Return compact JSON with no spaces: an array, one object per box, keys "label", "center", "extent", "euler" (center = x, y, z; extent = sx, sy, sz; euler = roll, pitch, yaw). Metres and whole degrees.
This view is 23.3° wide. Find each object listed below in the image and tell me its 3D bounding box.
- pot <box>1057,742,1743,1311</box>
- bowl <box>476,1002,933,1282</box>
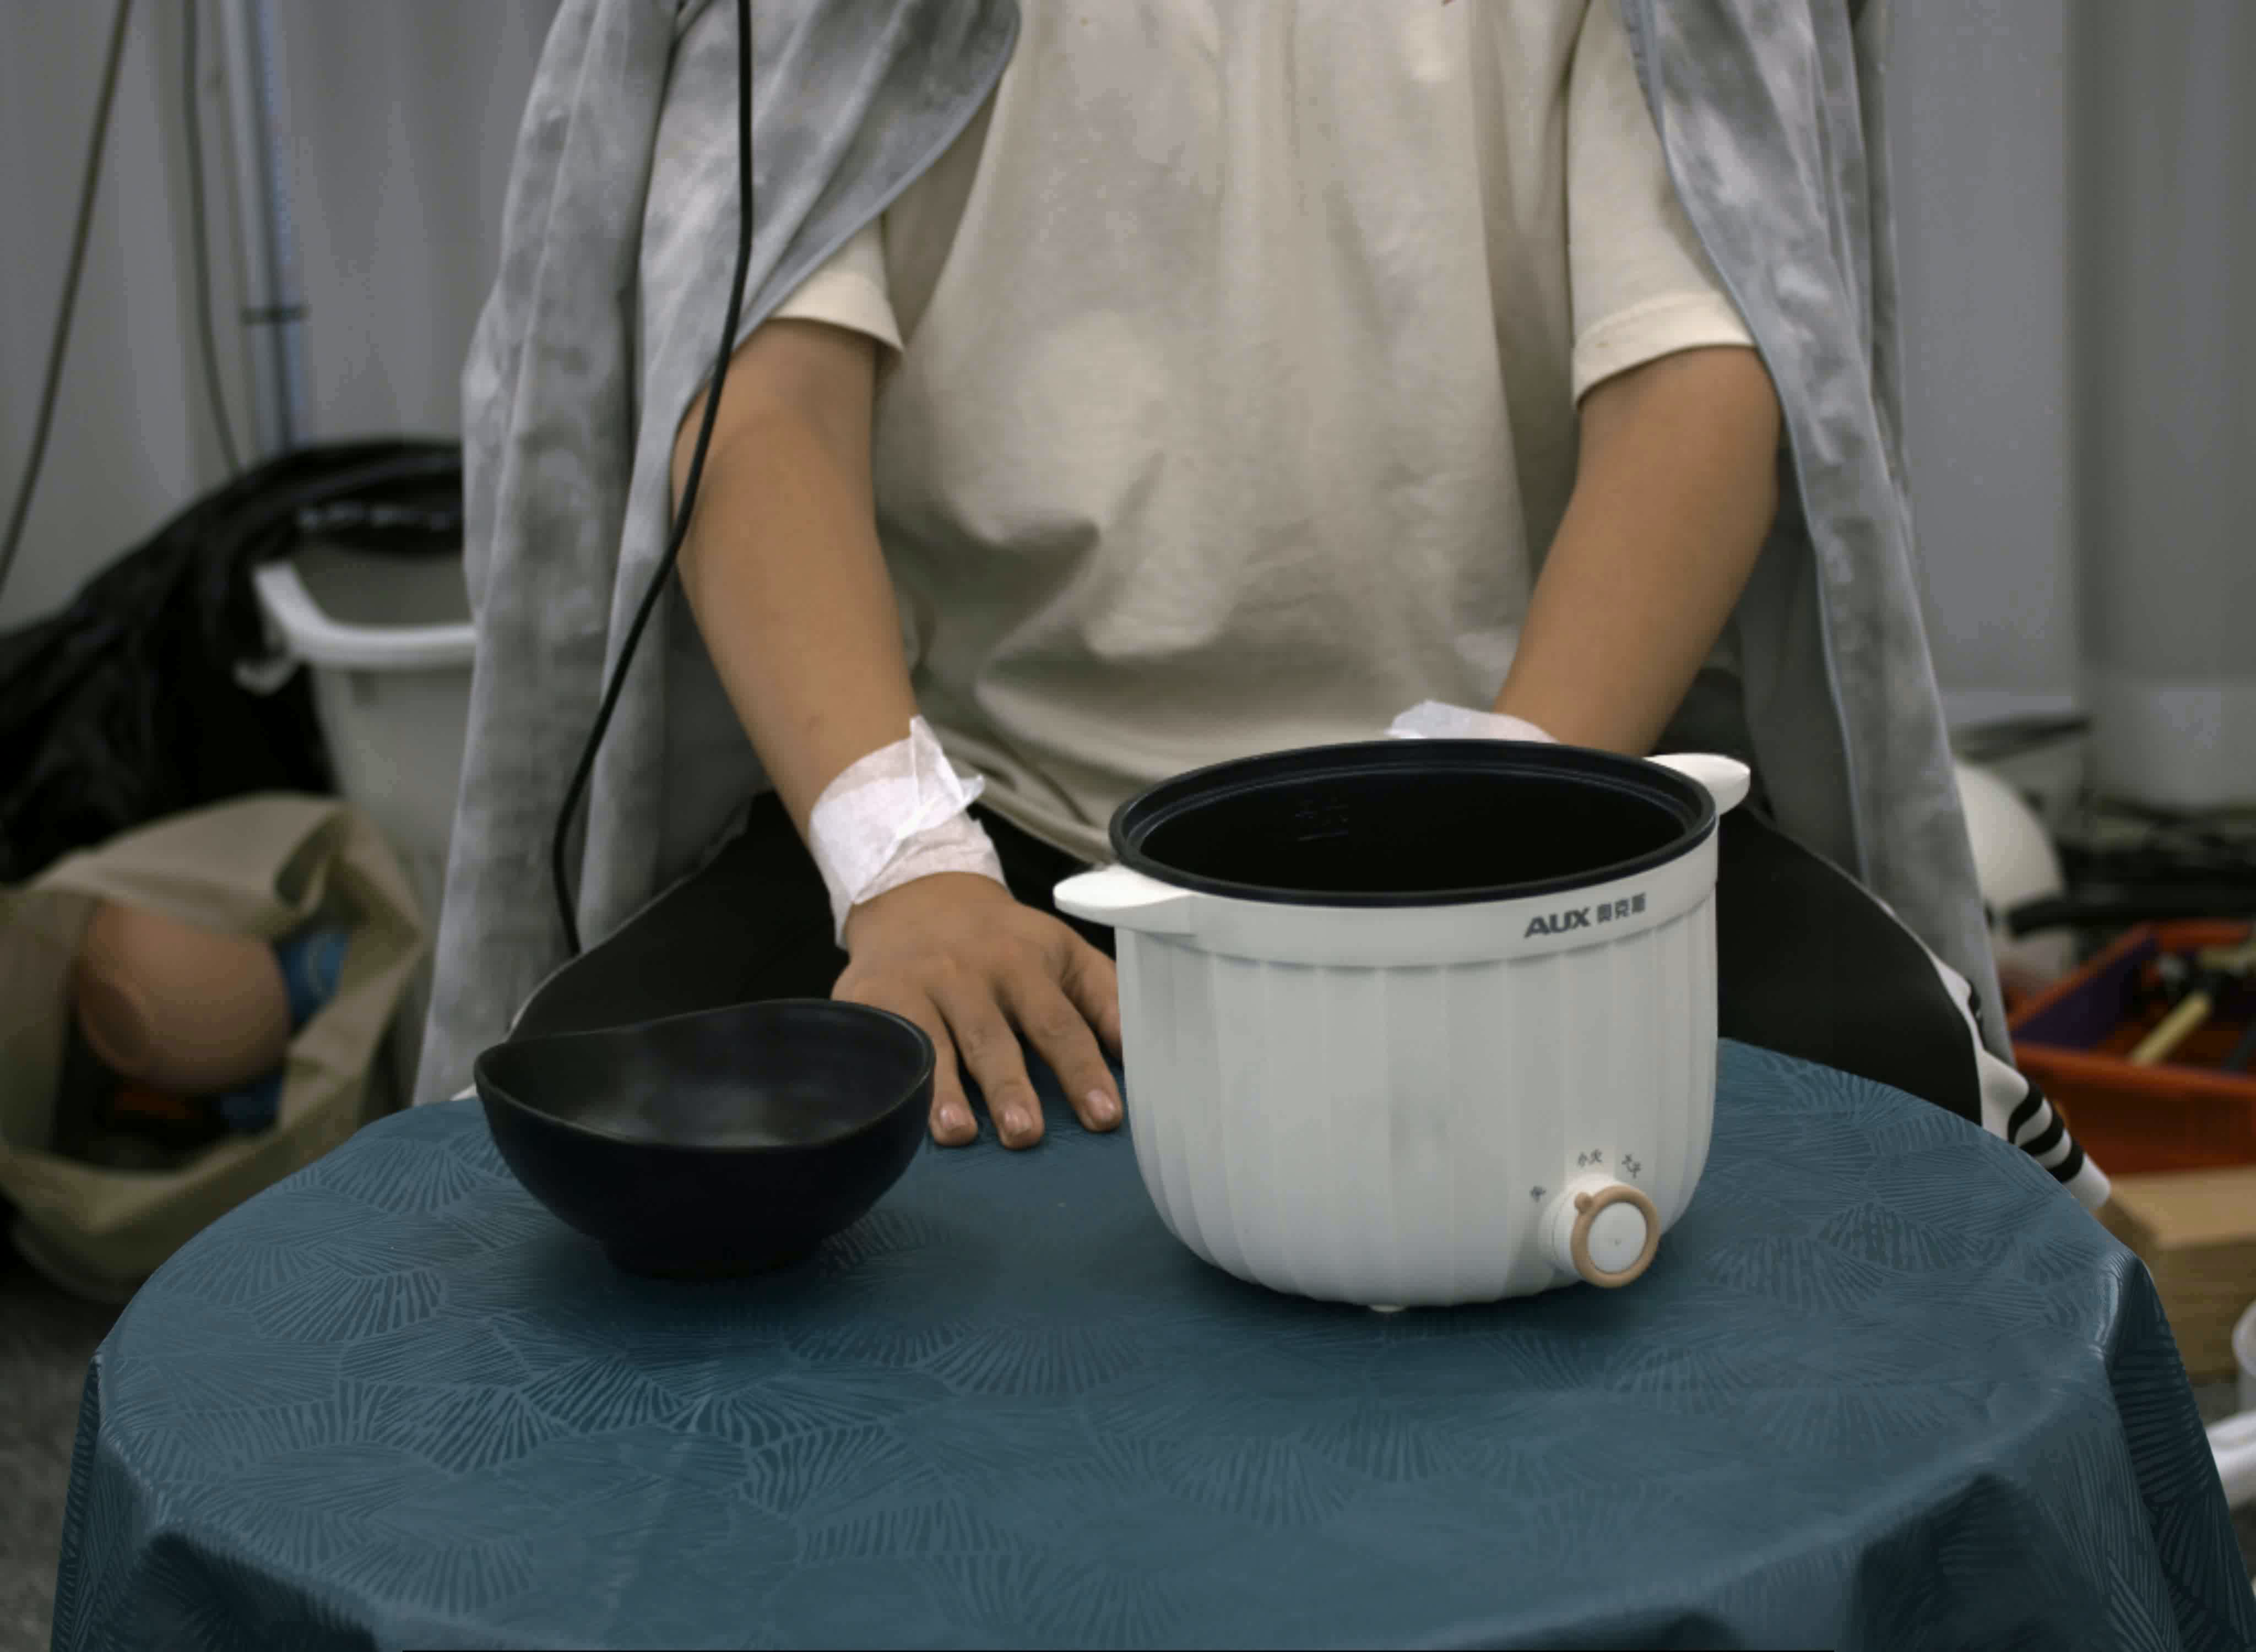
[{"label":"pot","center":[0.091,0.061,1.637],"extent":[0.239,0.142,0.191],"euler":[-12,14,-30]},{"label":"bowl","center":[-0.130,0.100,1.676],"extent":[0.137,0.066,0.171],"euler":[-8,14,-23]}]
